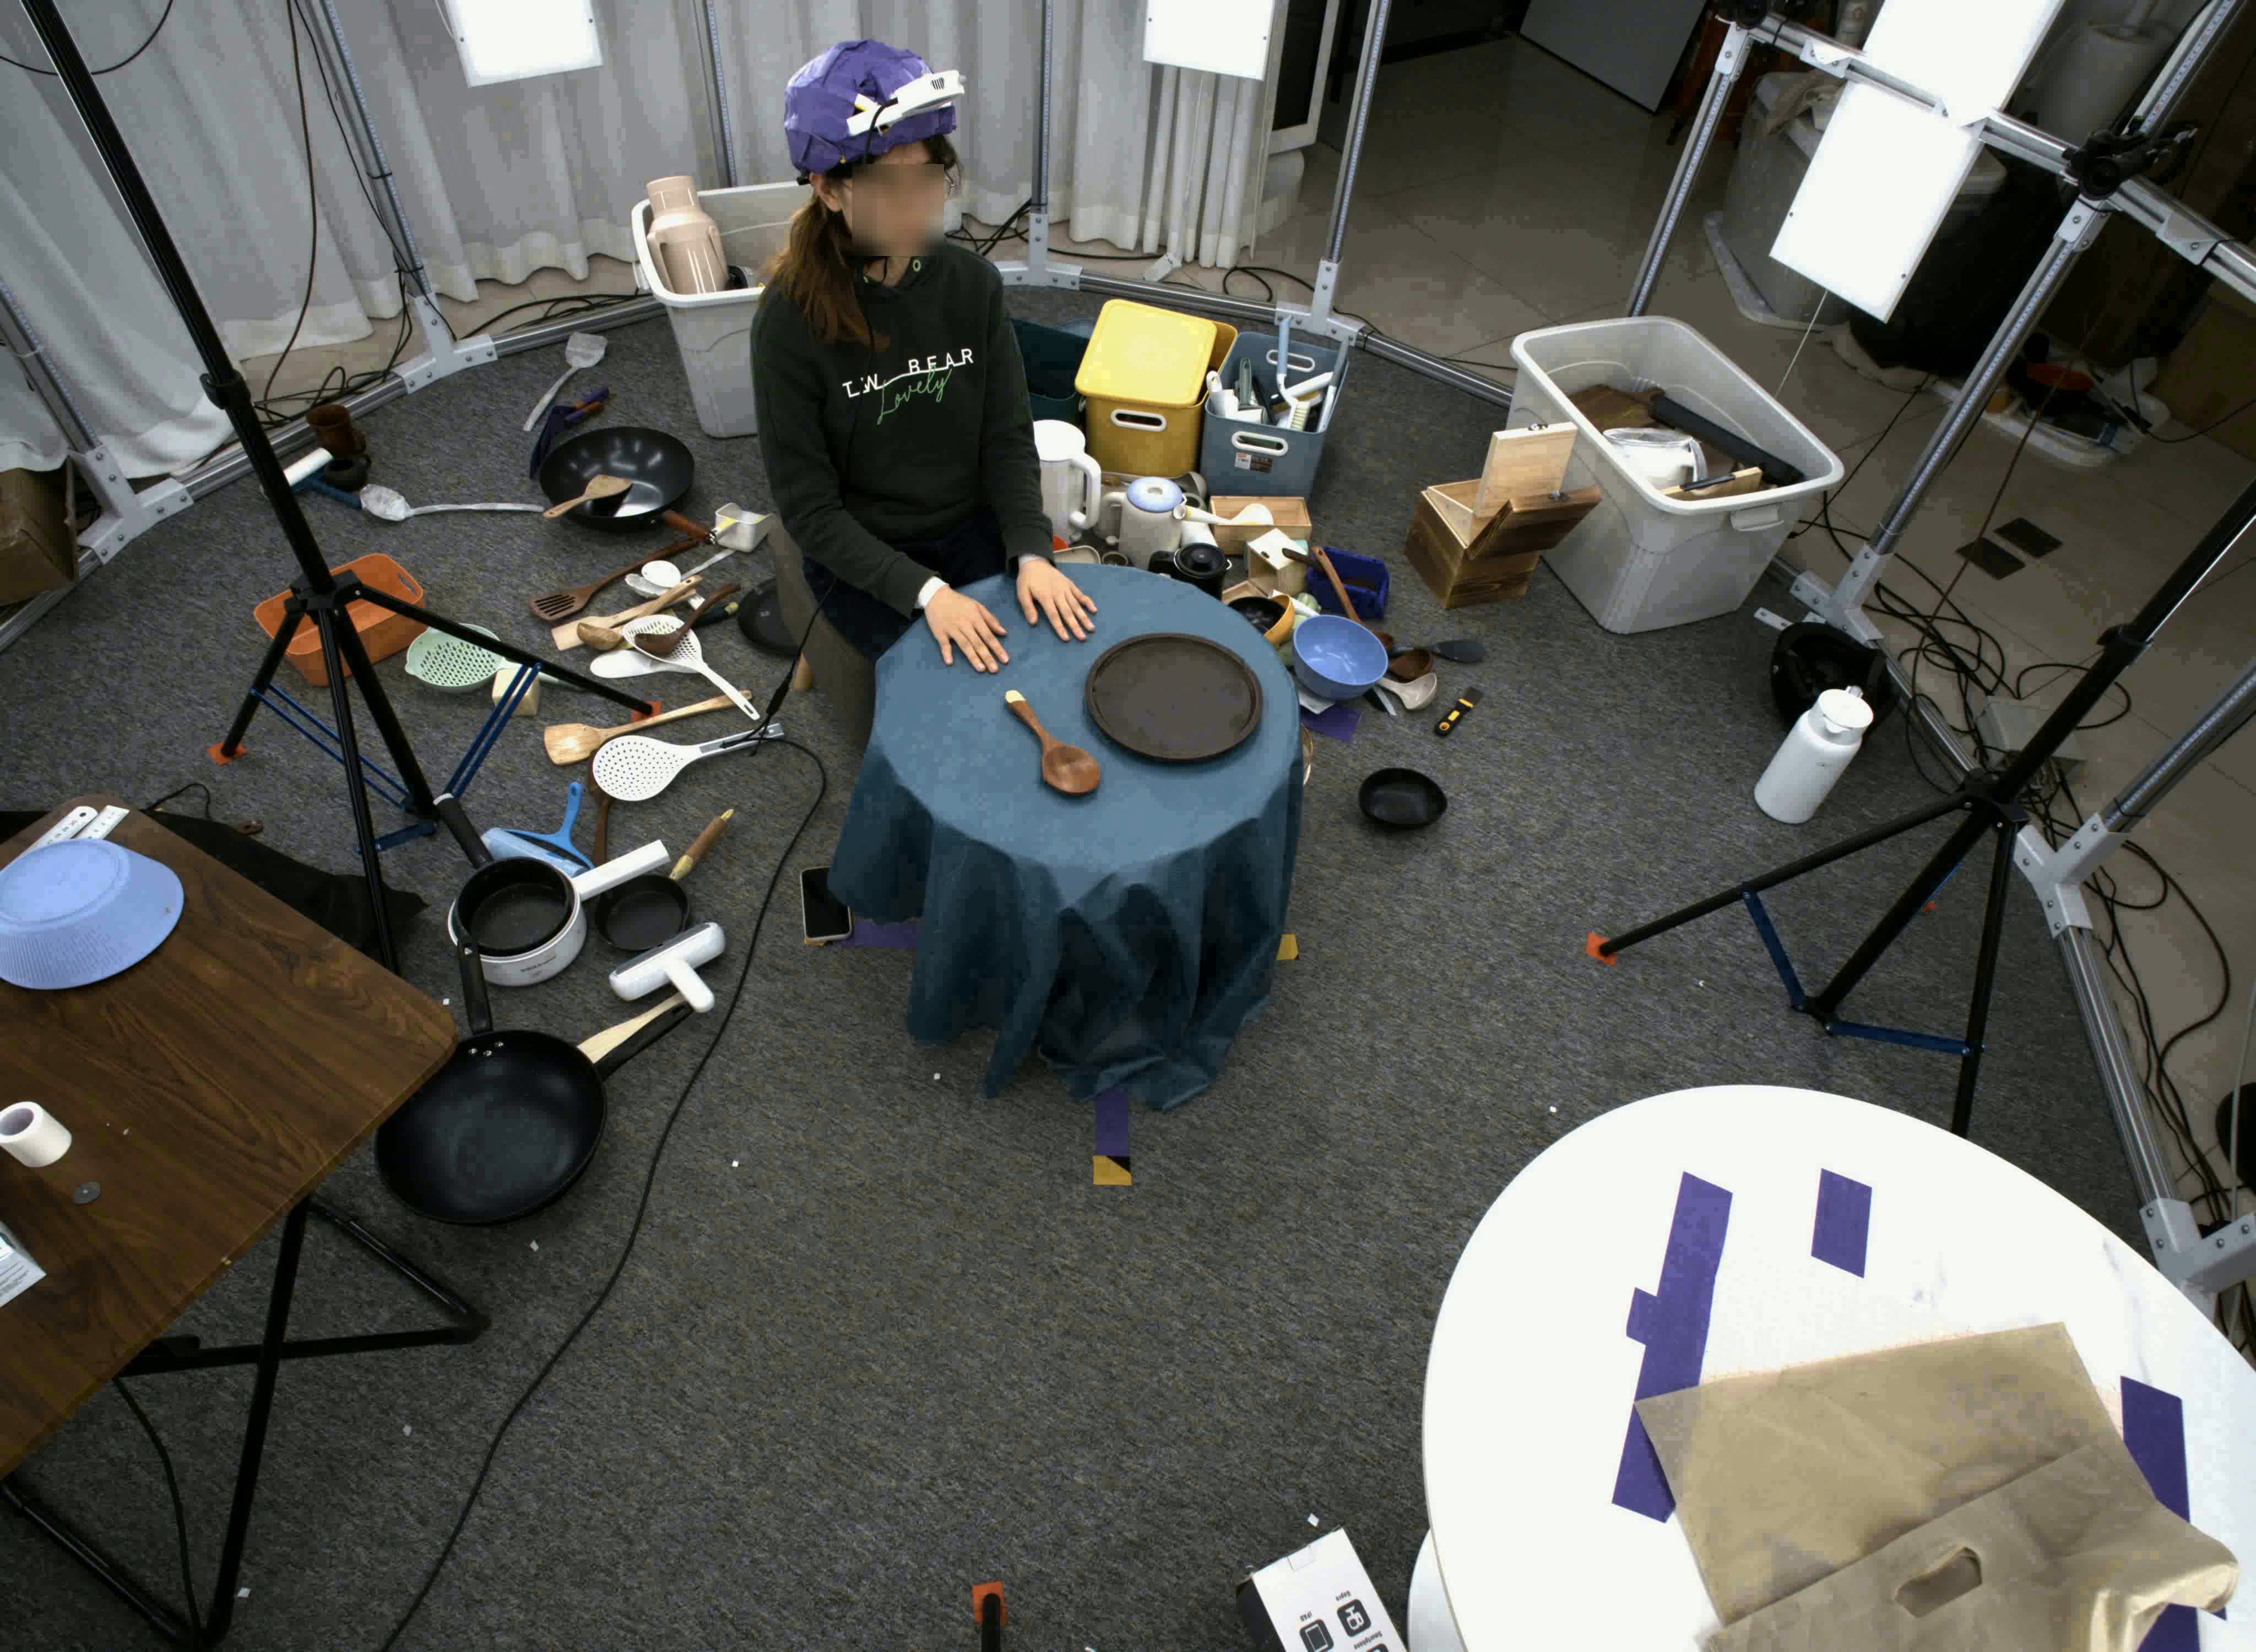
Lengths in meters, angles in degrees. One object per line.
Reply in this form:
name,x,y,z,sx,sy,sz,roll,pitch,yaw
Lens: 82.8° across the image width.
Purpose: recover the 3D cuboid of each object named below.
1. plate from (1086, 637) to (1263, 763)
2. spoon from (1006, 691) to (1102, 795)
plate,0.066,-0.182,1.833,0.254,0.028,0.261,3,49,-3
spoon,-0.109,-0.116,1.766,0.076,0.017,0.220,-23,54,-22
